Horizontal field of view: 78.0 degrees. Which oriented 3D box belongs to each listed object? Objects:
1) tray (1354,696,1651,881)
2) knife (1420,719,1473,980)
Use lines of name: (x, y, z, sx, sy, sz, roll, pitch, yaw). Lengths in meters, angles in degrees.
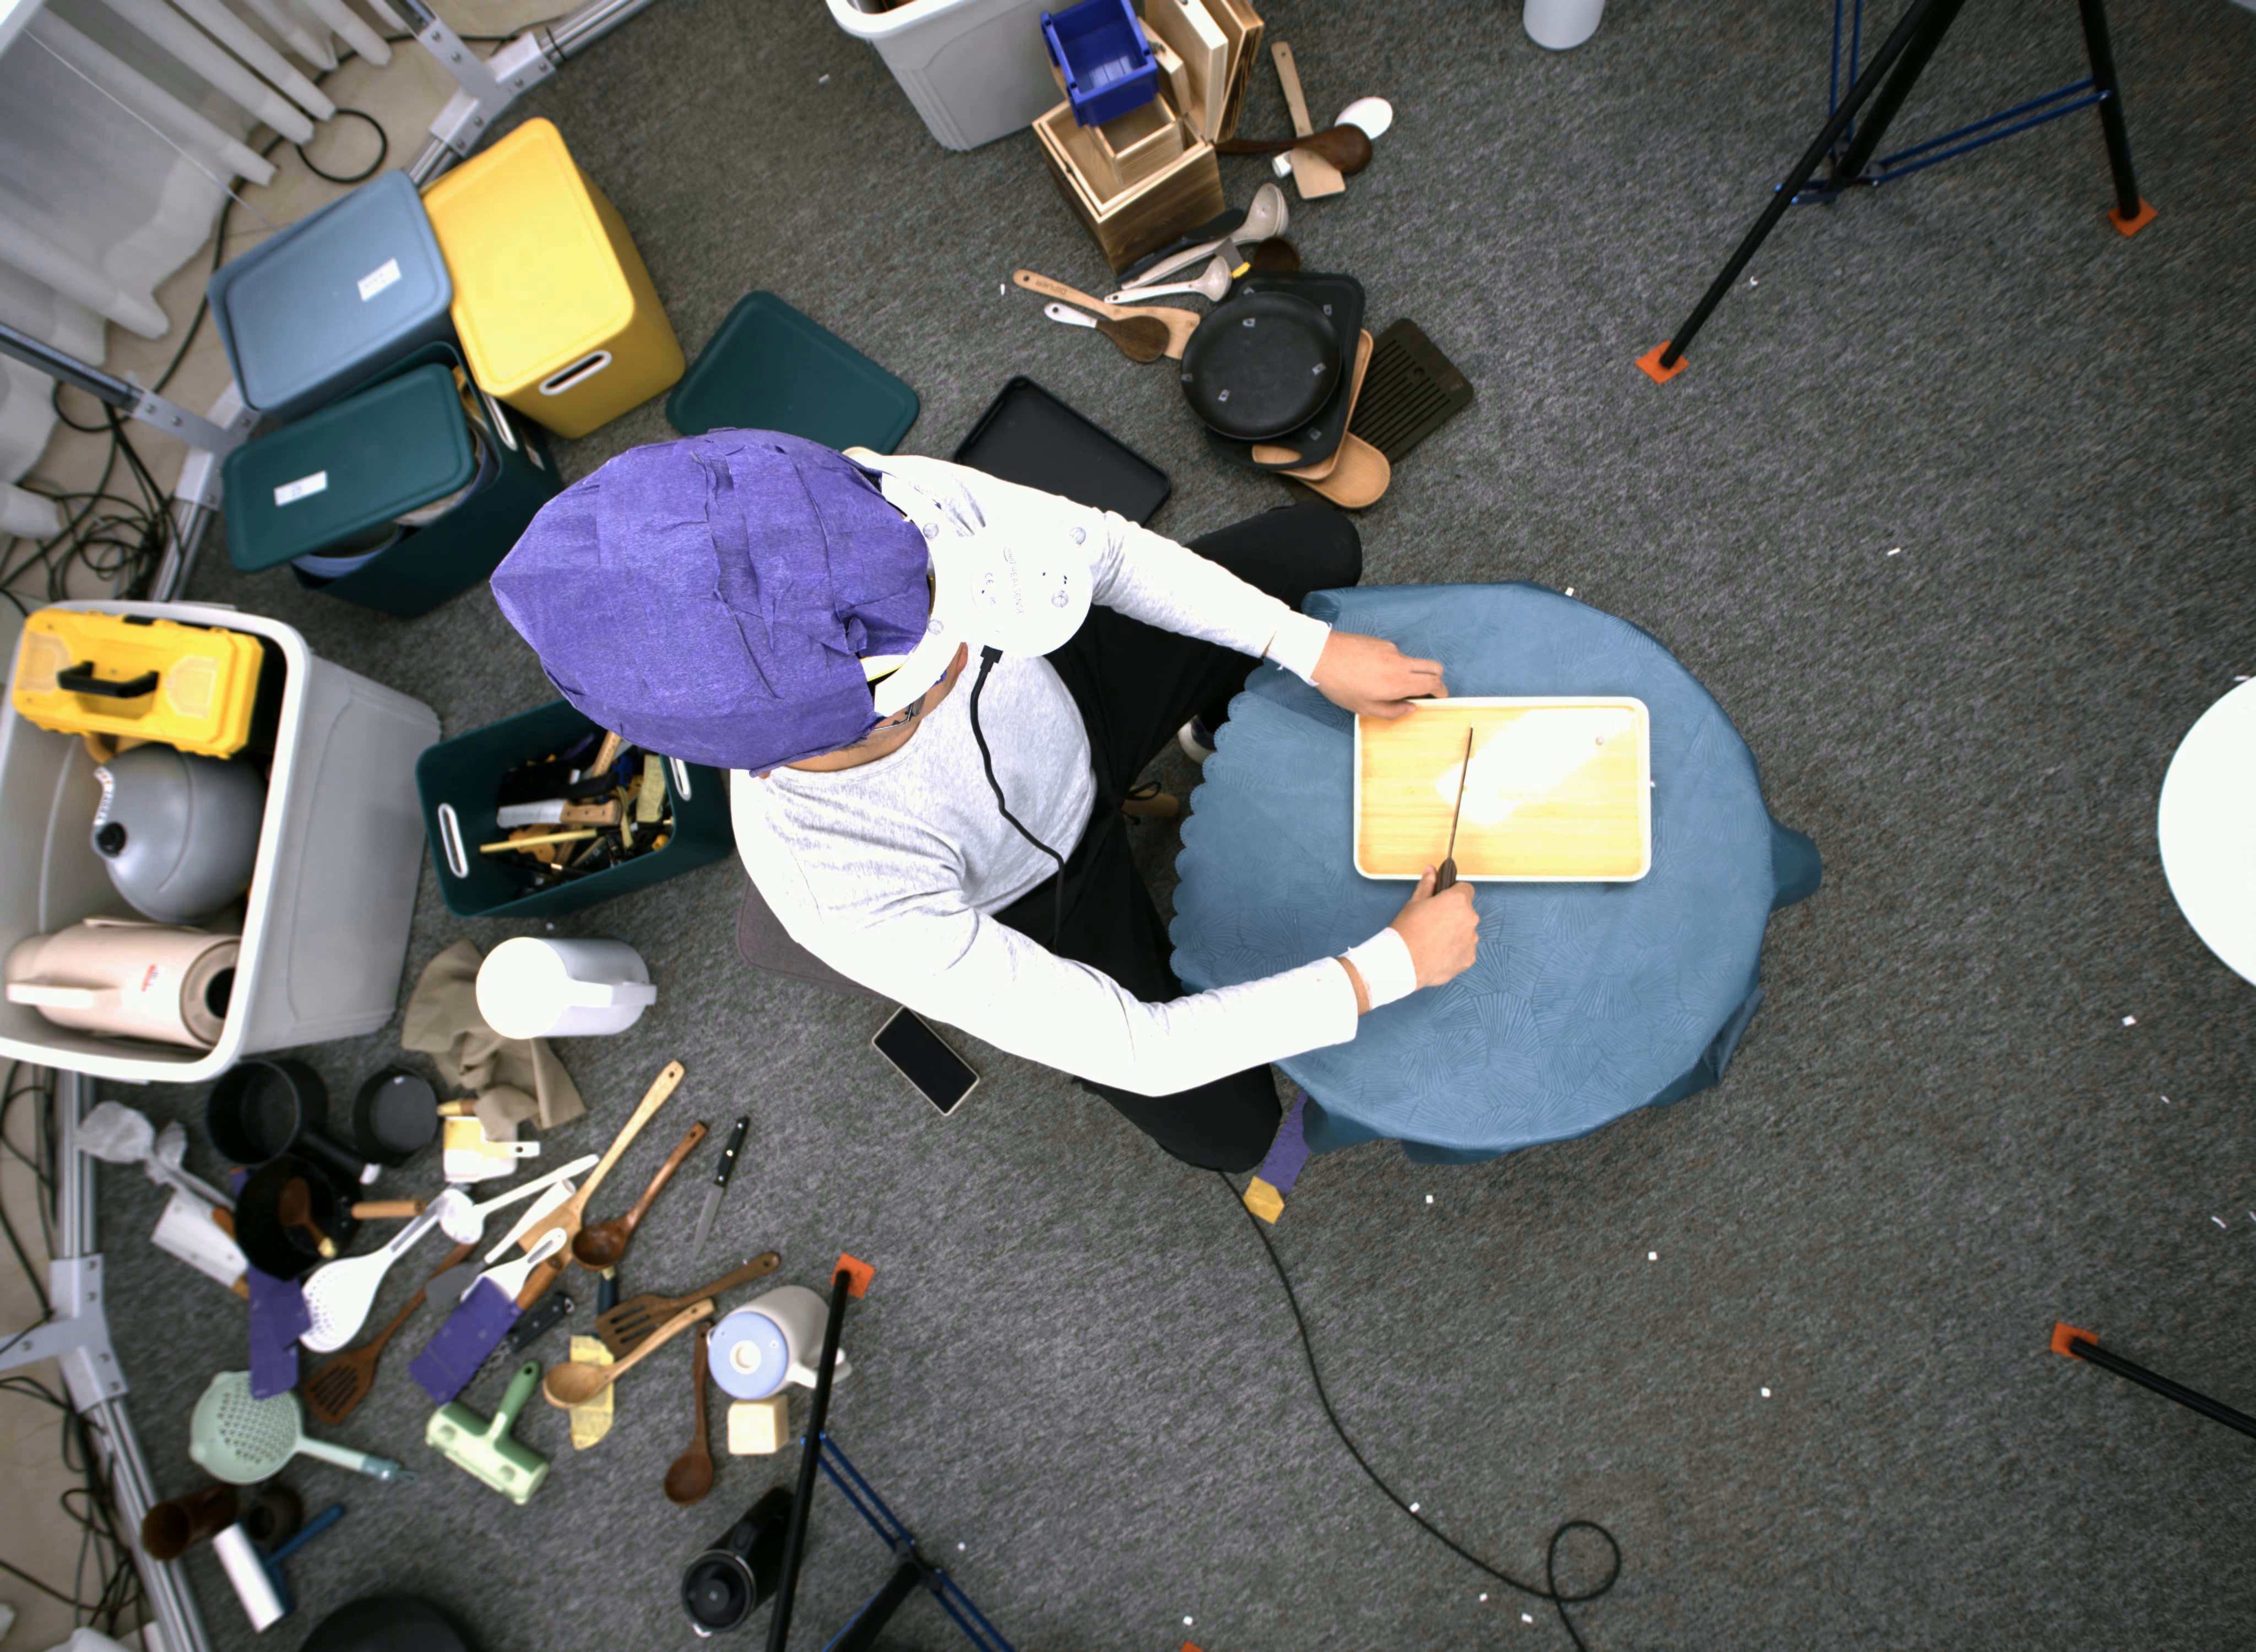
tray: (0.387, -0.041, 1.430, 0.301, 0.027, 0.191, 0, 87, 11)
knife: (0.329, 0.018, 1.401, 0.020, 0.051, 0.285, 12, 74, 7)
